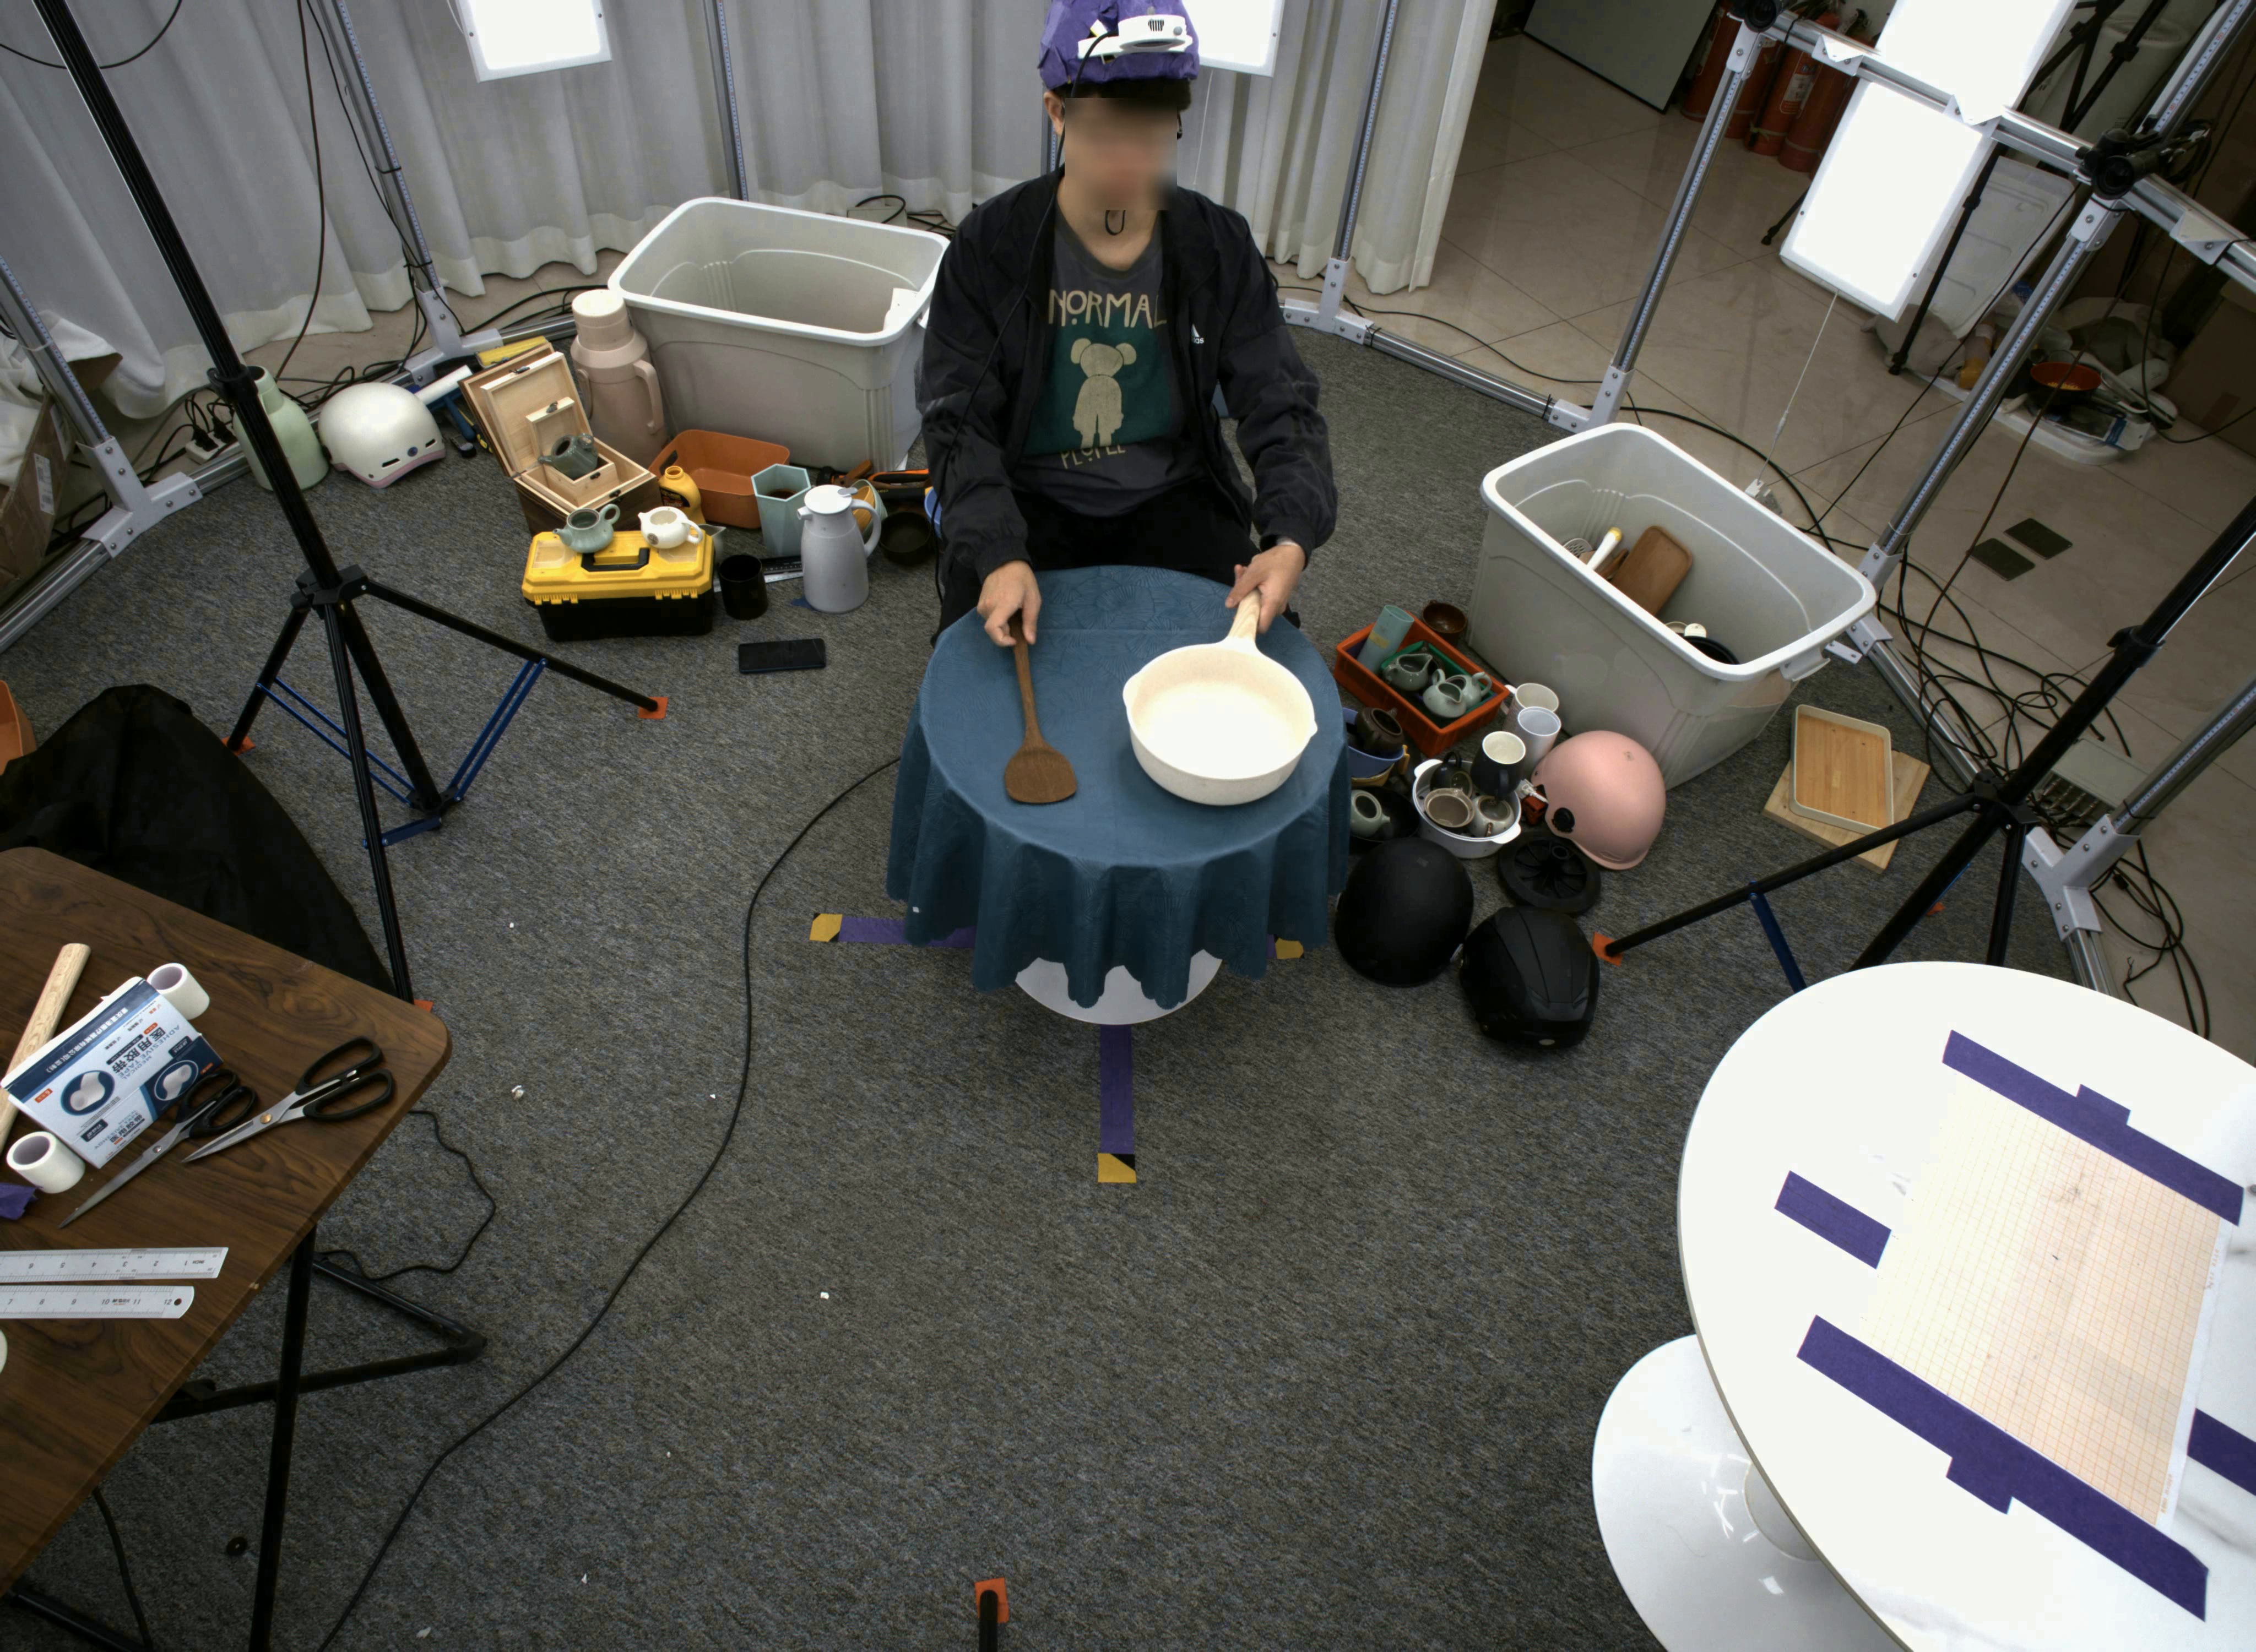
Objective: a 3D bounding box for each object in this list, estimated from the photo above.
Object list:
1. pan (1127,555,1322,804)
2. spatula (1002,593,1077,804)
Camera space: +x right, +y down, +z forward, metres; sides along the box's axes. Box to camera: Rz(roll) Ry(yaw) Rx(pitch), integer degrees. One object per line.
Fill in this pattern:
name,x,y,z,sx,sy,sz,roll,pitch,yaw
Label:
pan,0.149,-0.206,1.788,0.264,0.099,0.444,11,49,9
spatula,-0.142,-0.188,1.794,0.096,0.015,0.395,-6,55,-8
